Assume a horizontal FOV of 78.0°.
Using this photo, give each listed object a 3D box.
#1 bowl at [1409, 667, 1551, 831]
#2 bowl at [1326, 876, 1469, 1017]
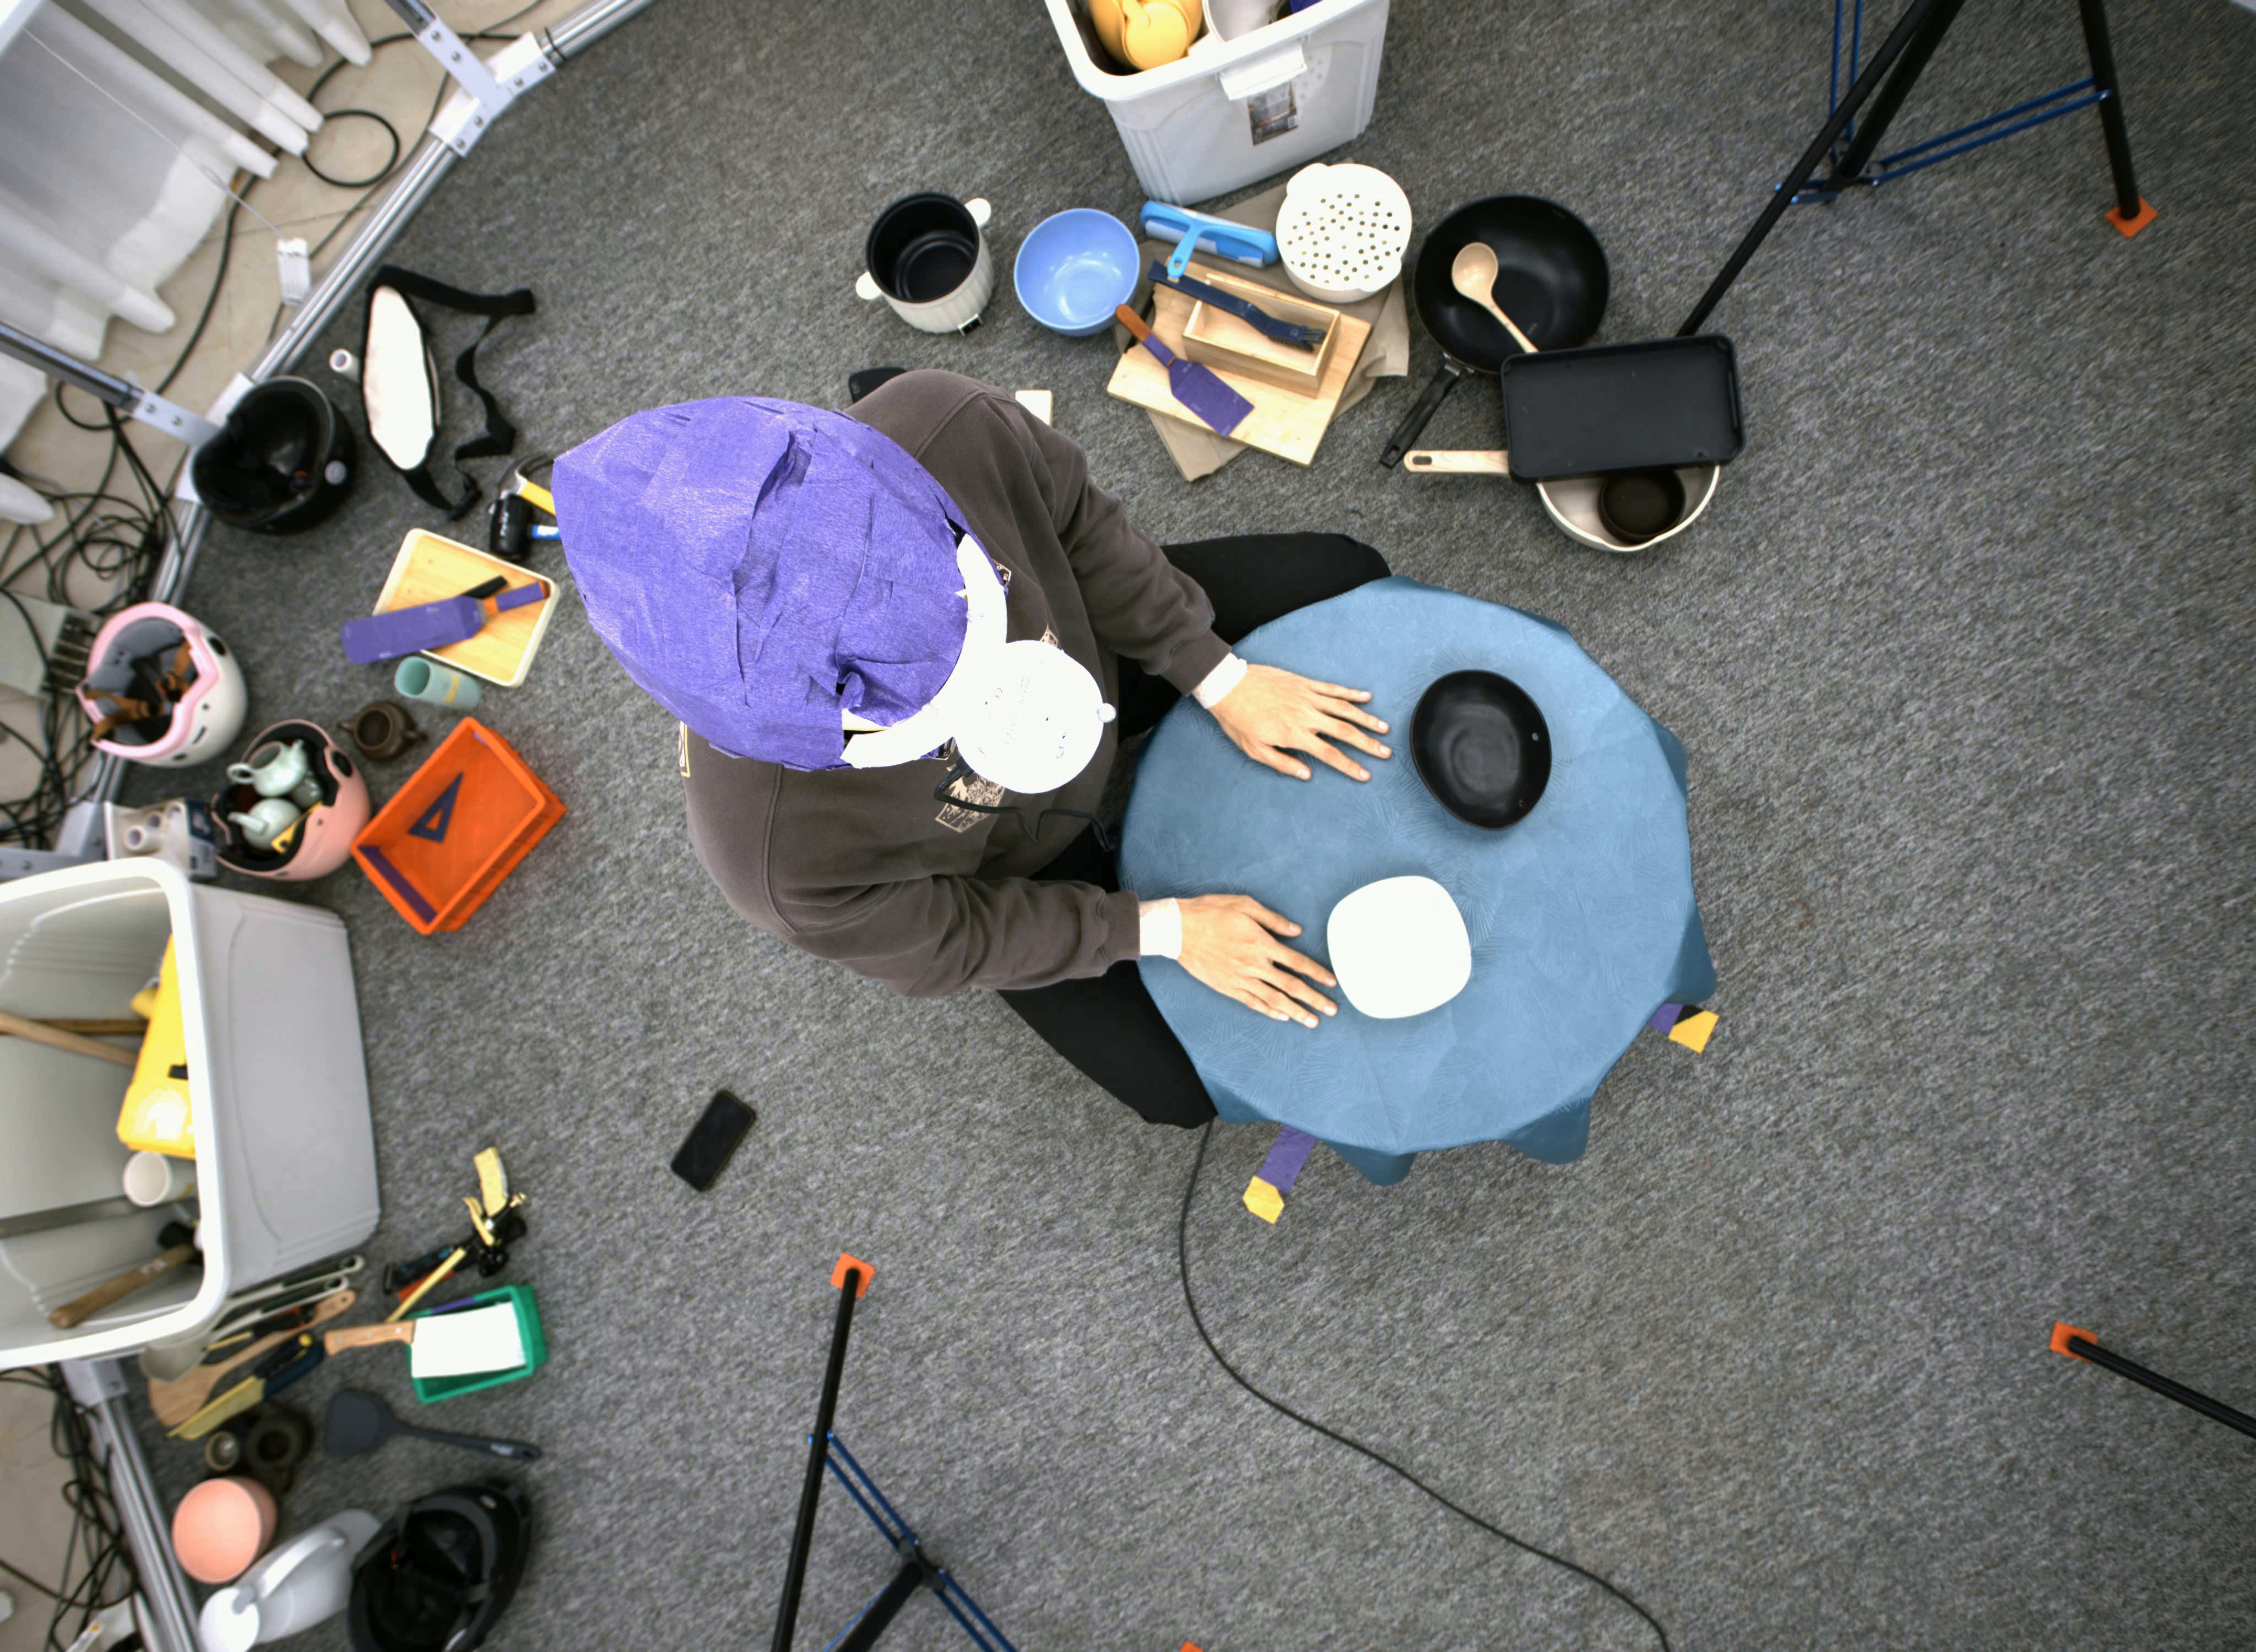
[{"bbox_3d":[0.362,-0.080,1.416,0.138,0.066,0.169,-21,85,9],"label":"bowl"},{"bbox_3d":[0.276,0.123,1.424,0.152,0.059,0.151,-1,87,8],"label":"bowl"}]
